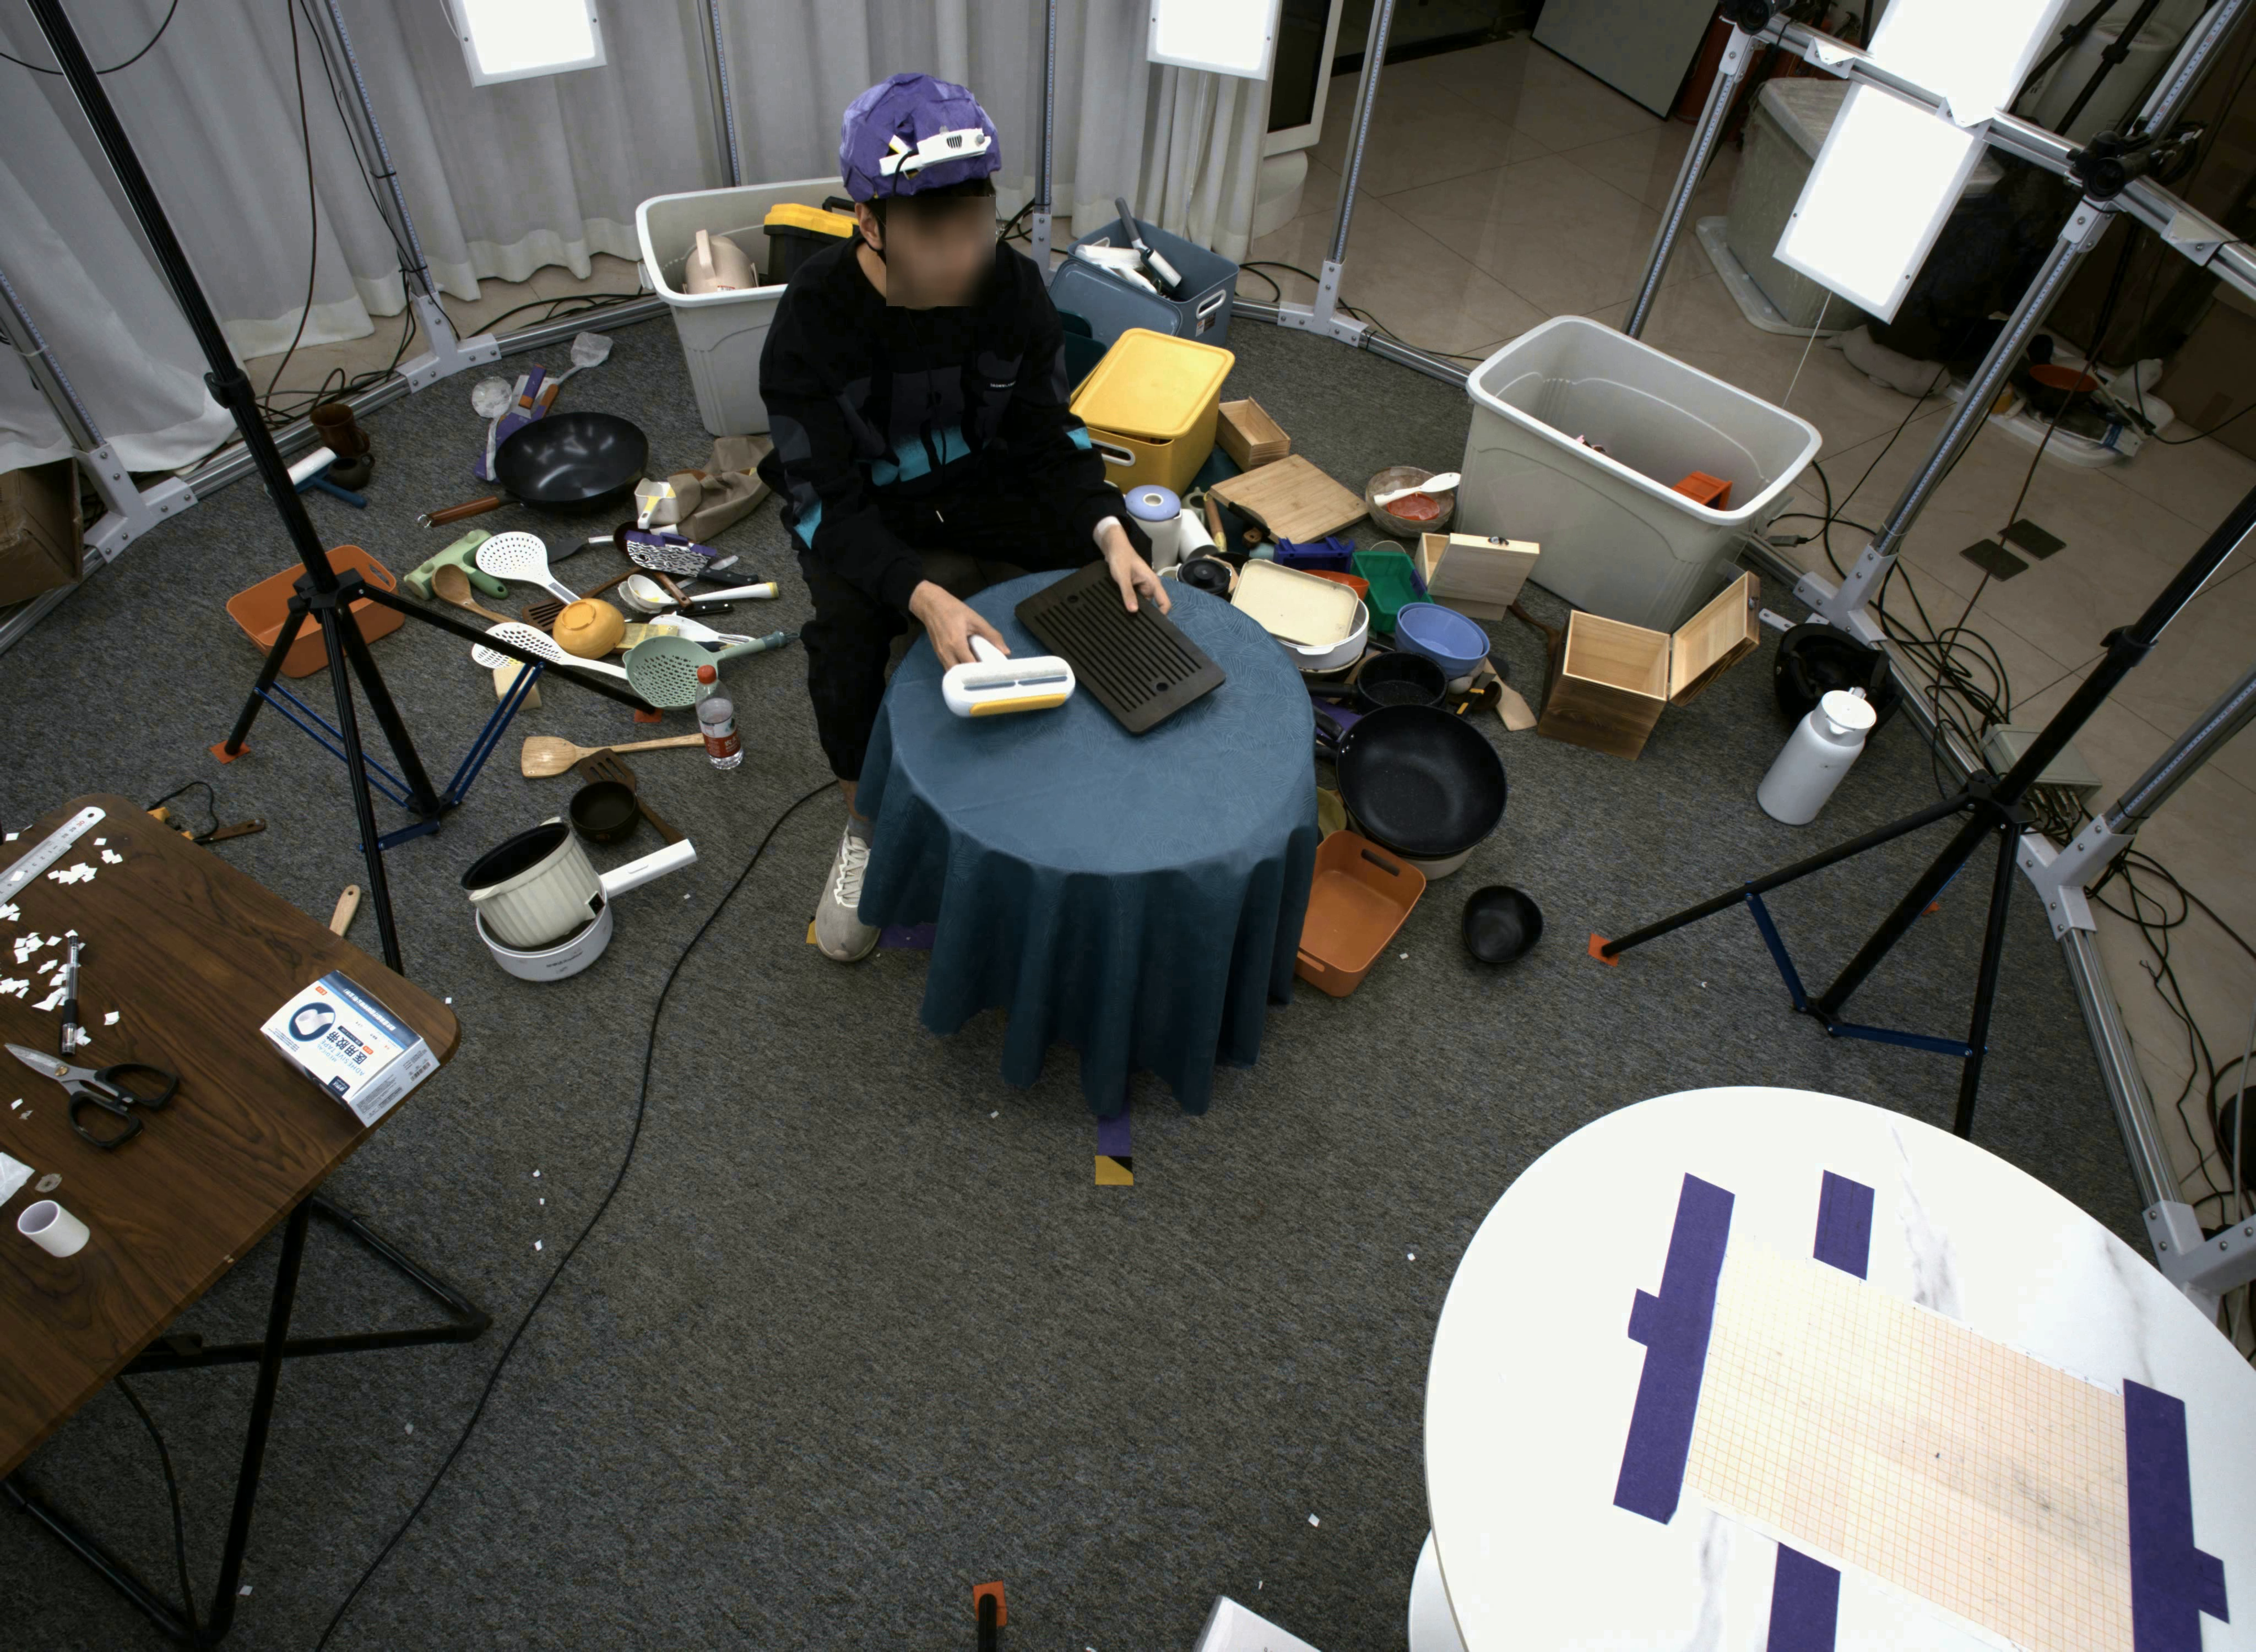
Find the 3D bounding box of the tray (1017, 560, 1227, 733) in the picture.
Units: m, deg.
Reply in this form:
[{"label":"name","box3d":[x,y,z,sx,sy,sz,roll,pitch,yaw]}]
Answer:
[{"label":"tray","box3d":[-0.011,-0.265,1.870,0.171,0.018,0.311,-32,59,-19]}]

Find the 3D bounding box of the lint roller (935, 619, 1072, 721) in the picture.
[{"label":"lint roller","box3d":[-0.191,-0.230,1.795,0.192,0.072,0.196,-9,56,-24]}]
